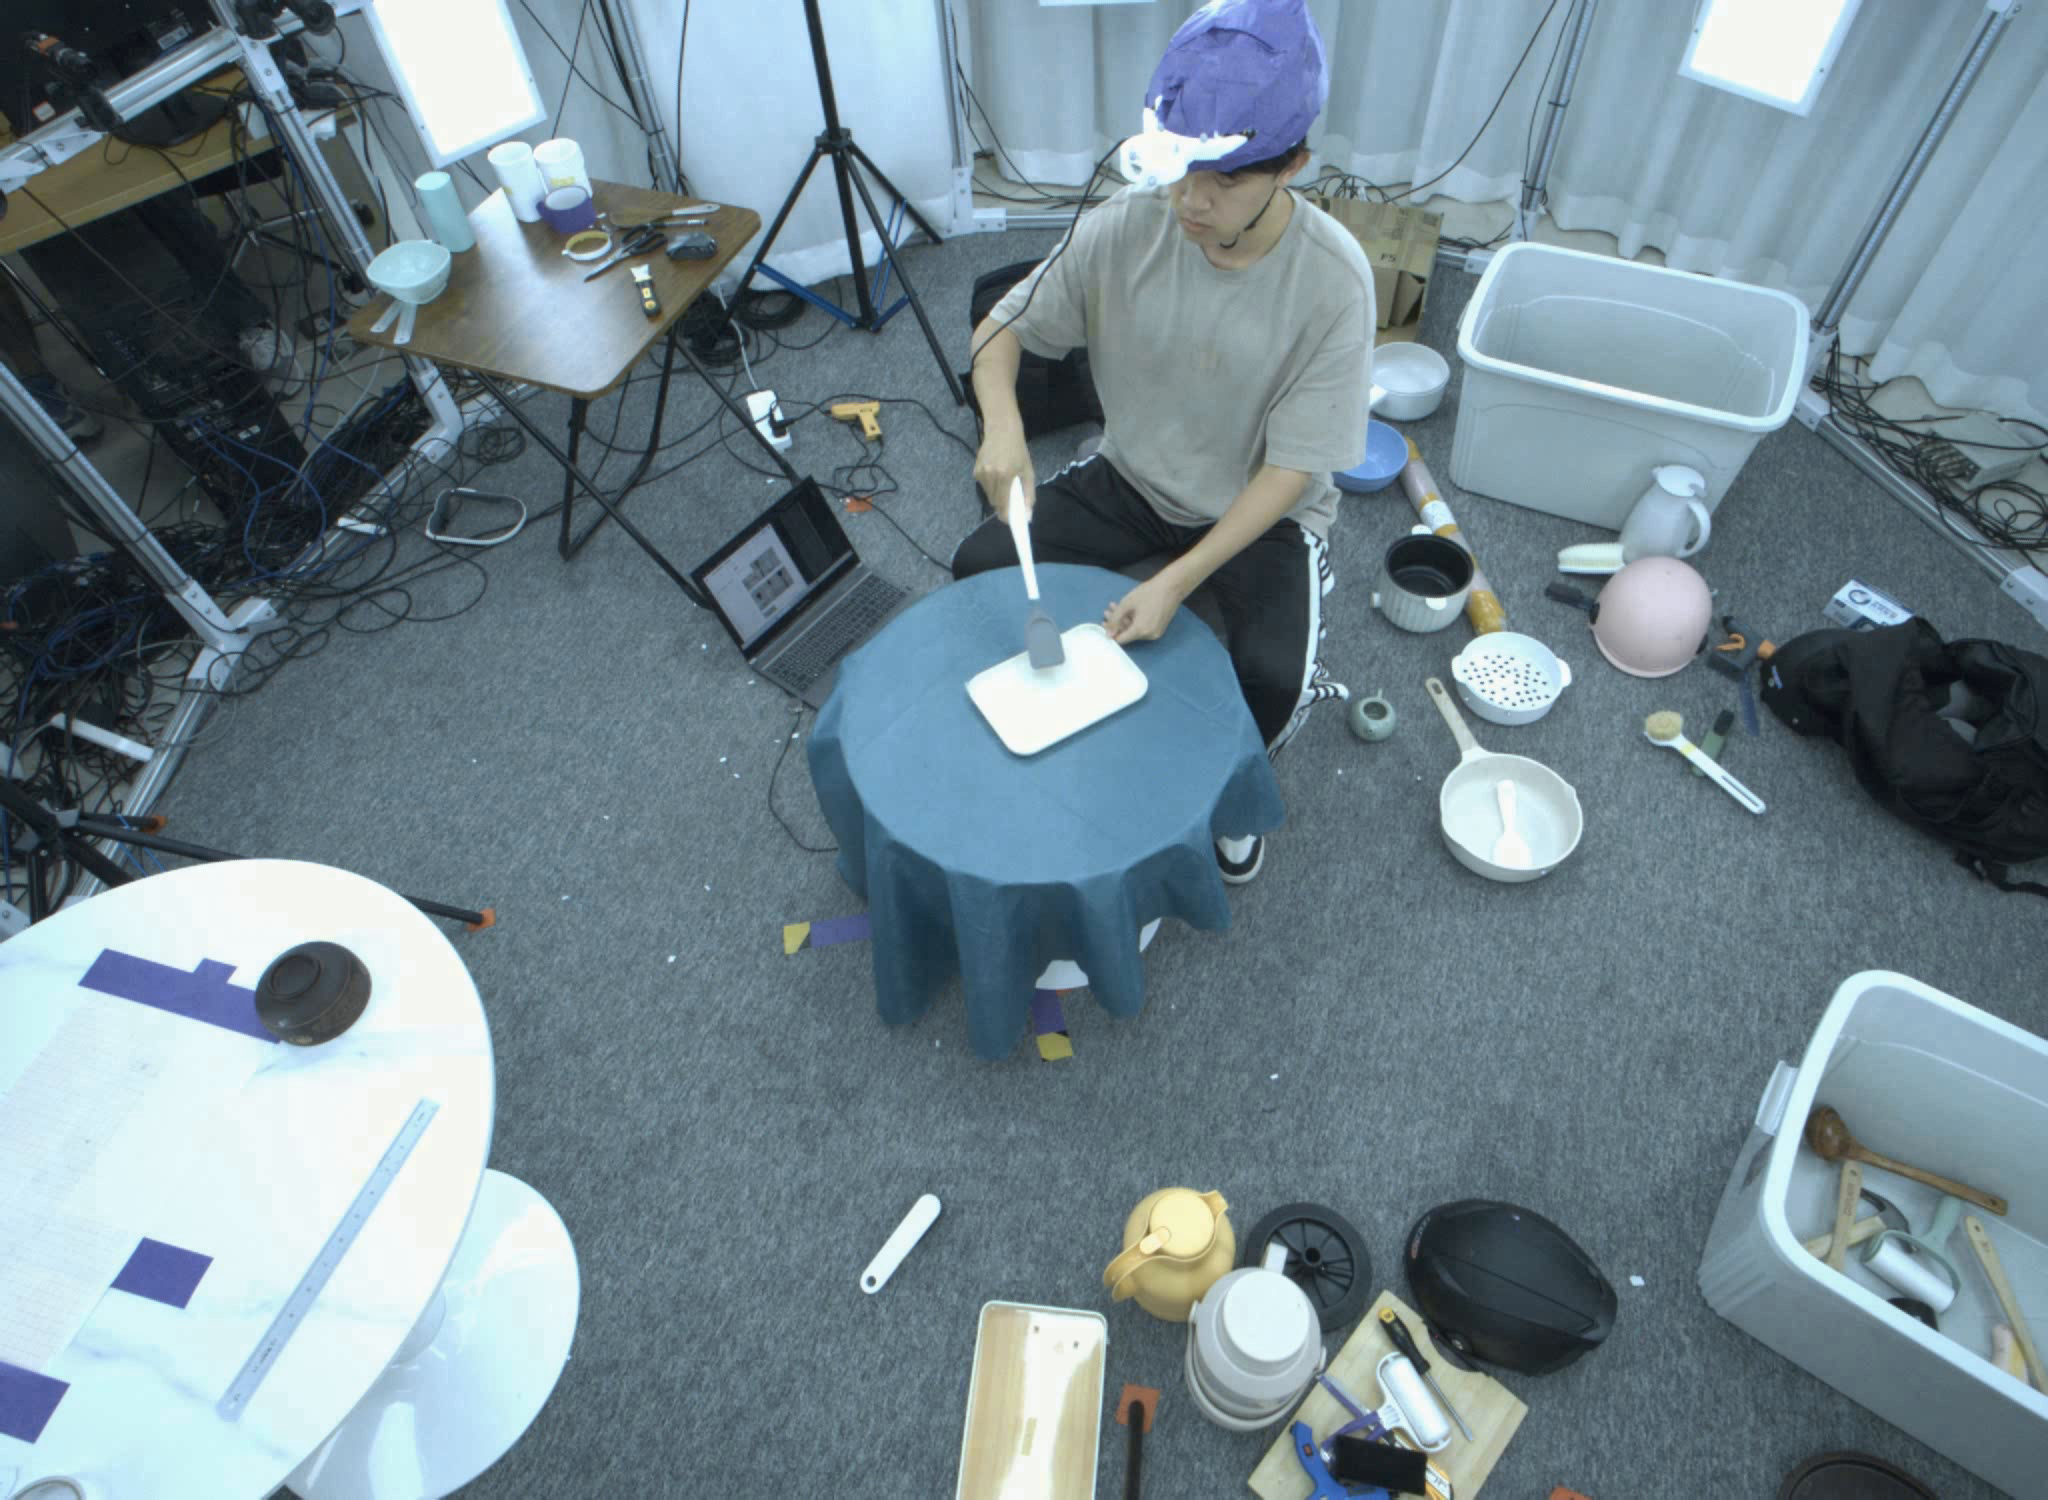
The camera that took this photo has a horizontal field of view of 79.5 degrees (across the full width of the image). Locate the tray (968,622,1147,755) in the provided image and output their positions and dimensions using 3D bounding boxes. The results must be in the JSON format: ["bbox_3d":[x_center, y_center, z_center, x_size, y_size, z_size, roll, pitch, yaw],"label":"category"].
[{"bbox_3d":[0.050,-0.092,1.837,0.241,0.017,0.168,-27,59,-16],"label":"tray"}]

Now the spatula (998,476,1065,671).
[{"bbox_3d":[0.005,-0.261,1.813,0.059,0.032,0.288,-13,98,-7],"label":"spatula"}]
